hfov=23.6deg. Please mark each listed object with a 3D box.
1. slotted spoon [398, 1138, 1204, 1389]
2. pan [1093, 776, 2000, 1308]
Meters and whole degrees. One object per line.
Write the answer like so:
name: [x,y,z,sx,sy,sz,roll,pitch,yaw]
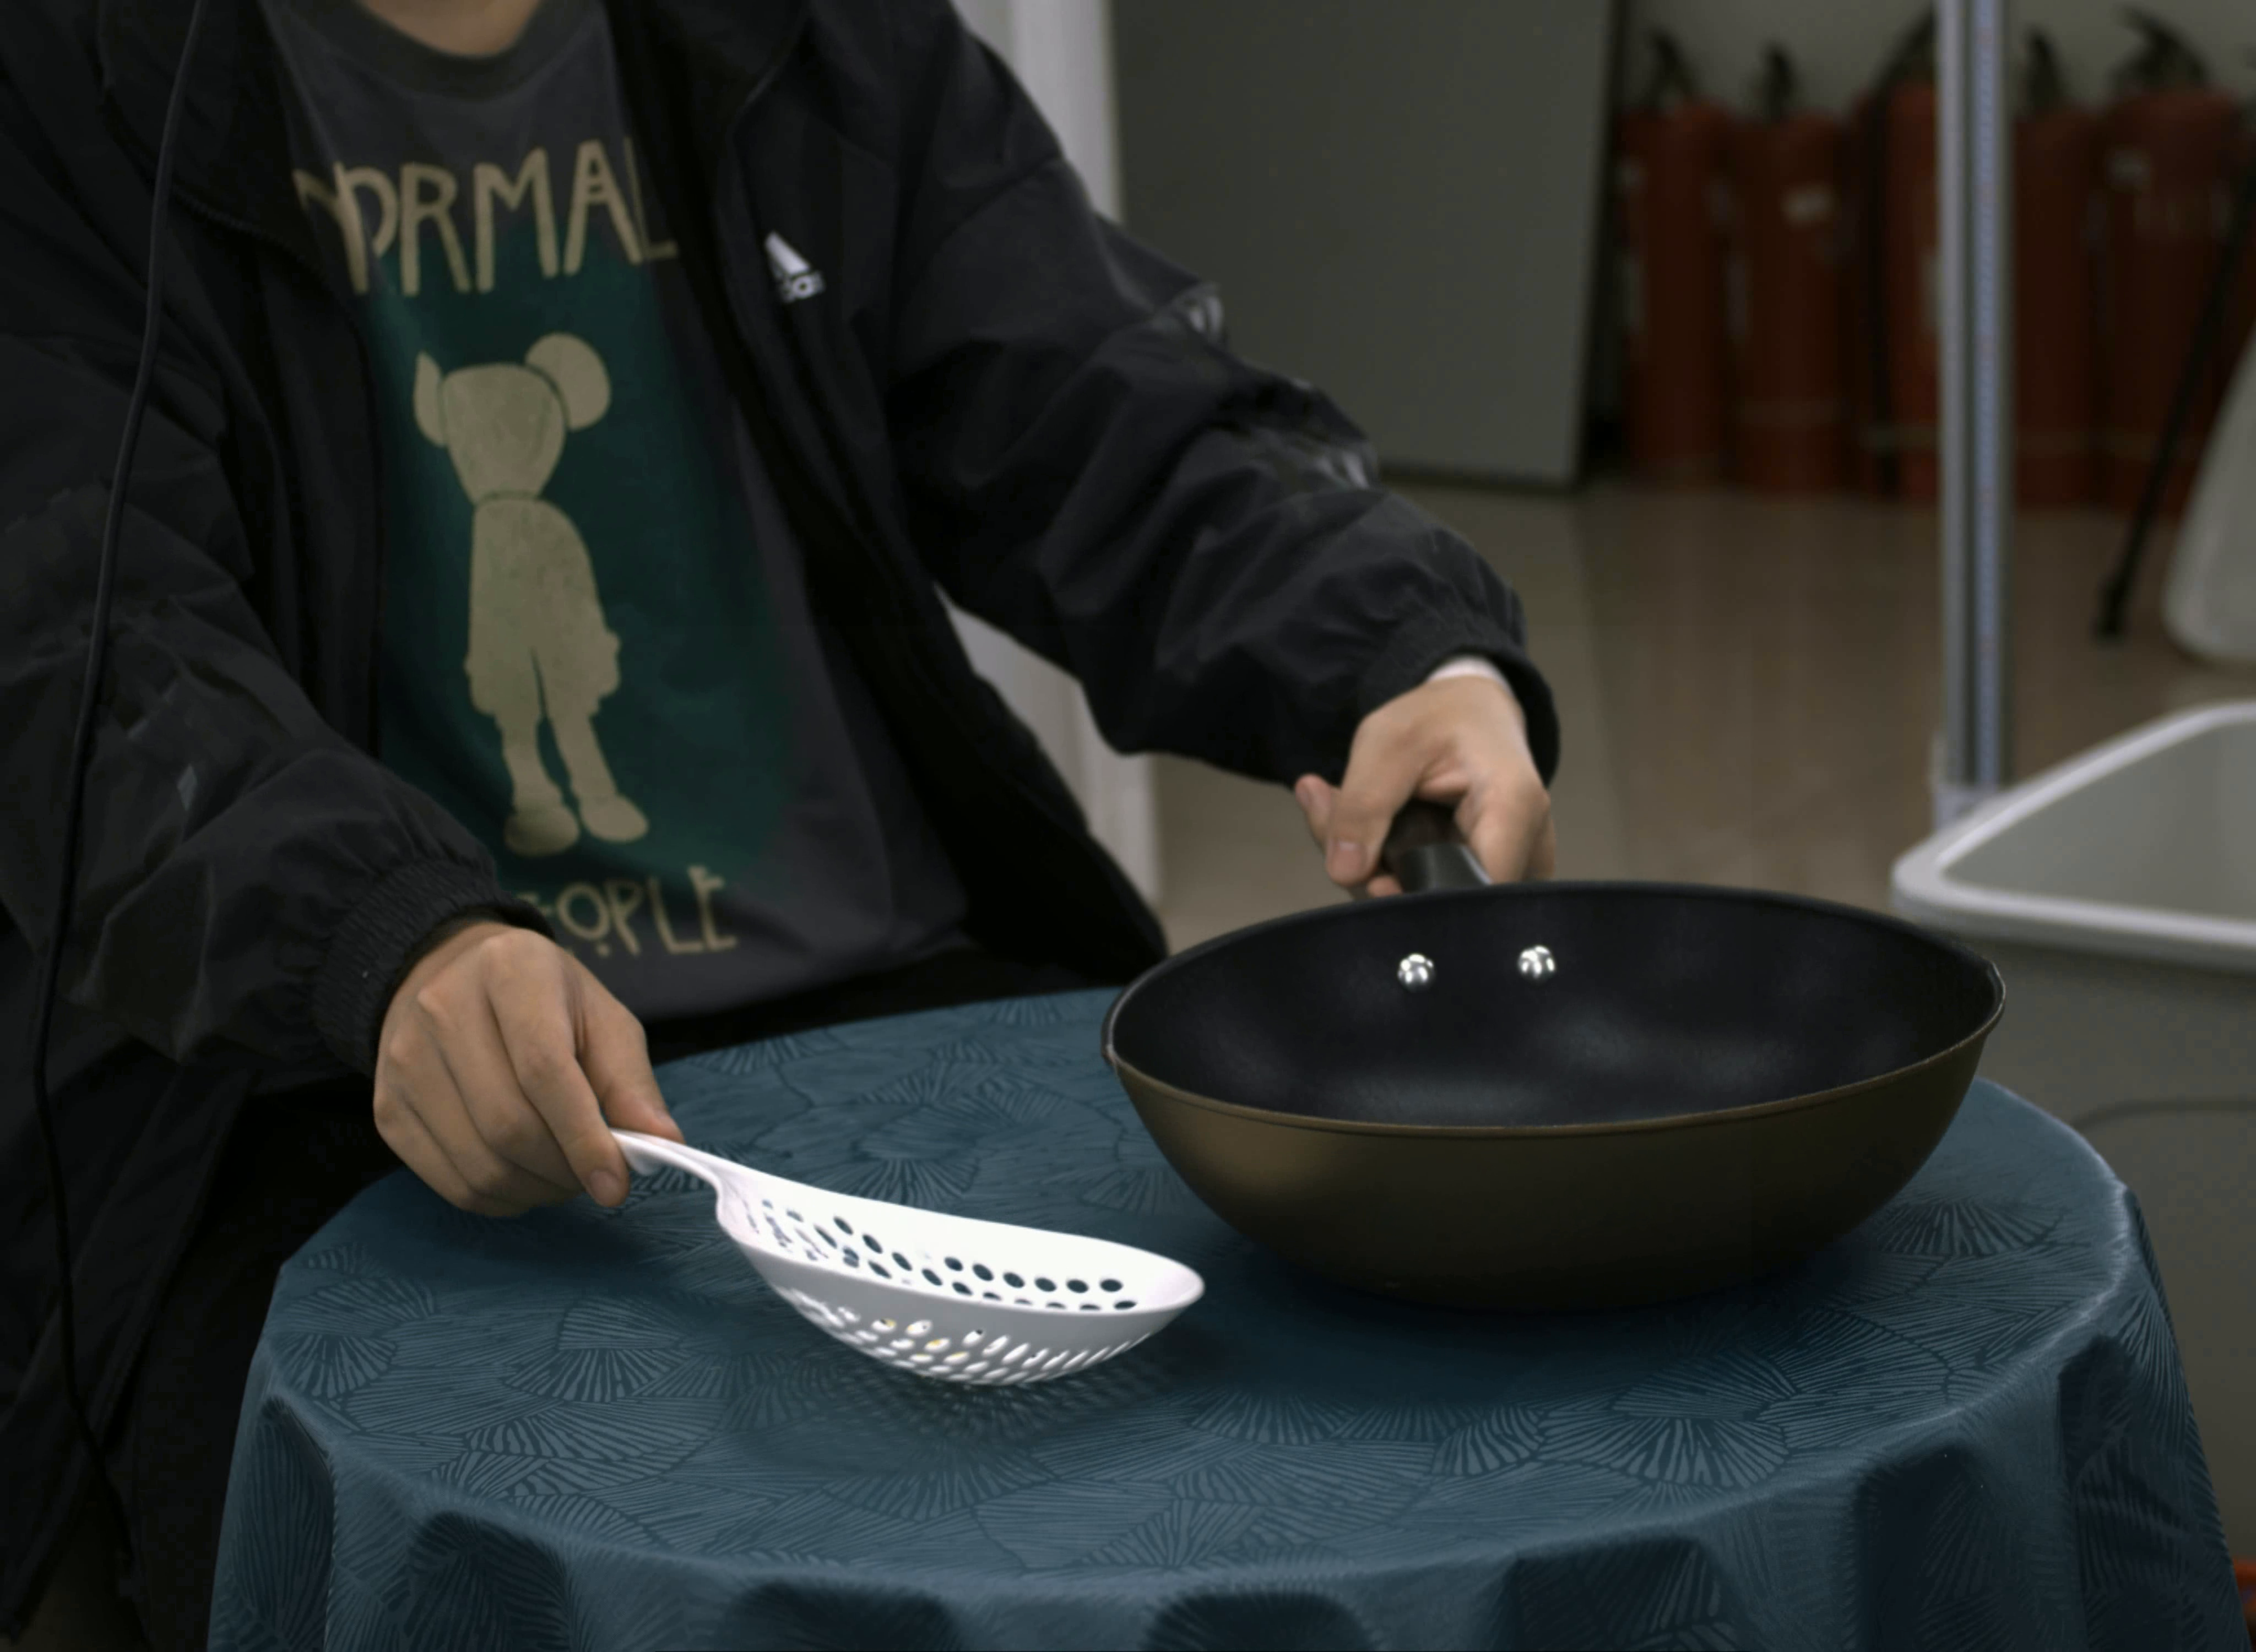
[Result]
slotted spoon: [-0.118,0.123,1.678,0.133,0.051,0.351,1,11,-40]
pan: [0.120,0.068,1.774,0.283,0.088,0.465,-5,13,-6]
